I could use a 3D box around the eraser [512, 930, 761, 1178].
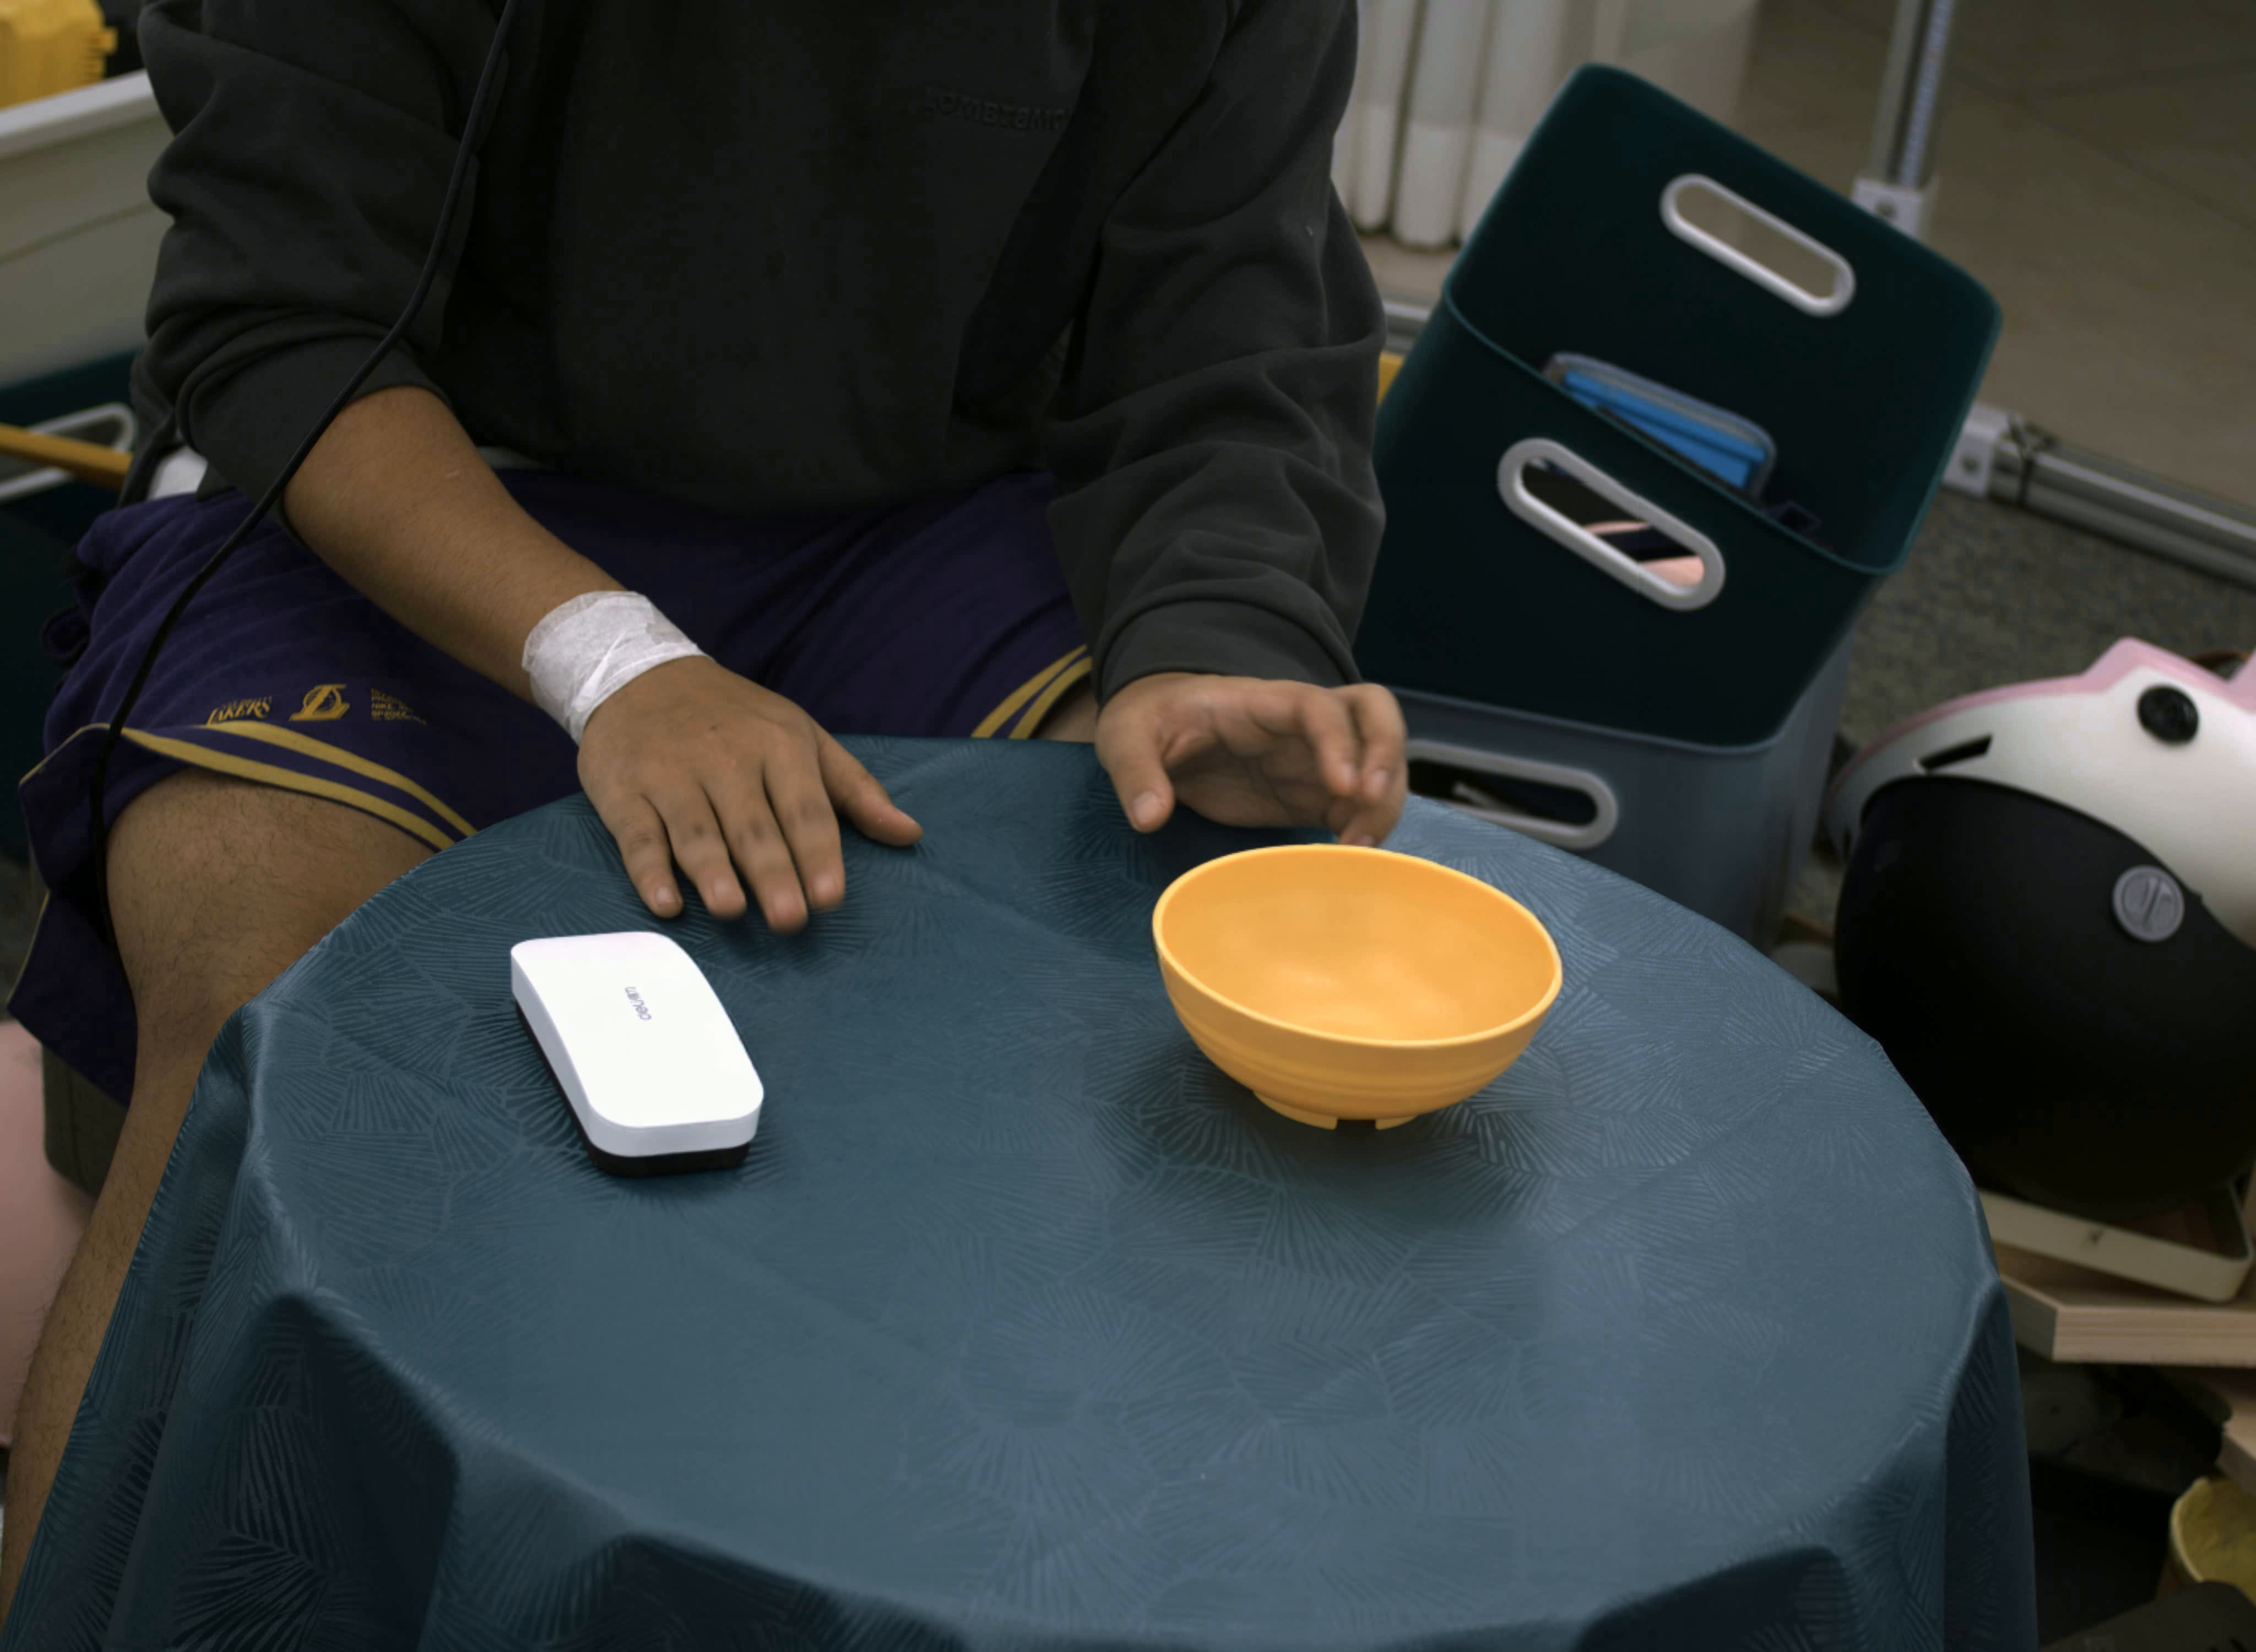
[{"bbox_3d":[-0.169,0.074,1.826,0.063,0.034,0.132,-4,29,-20],"label":"eraser"}]

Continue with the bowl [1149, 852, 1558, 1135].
[{"bbox_3d":[0.075,0.067,1.869,0.145,0.060,0.146,6,25,-3],"label":"bowl"}]
